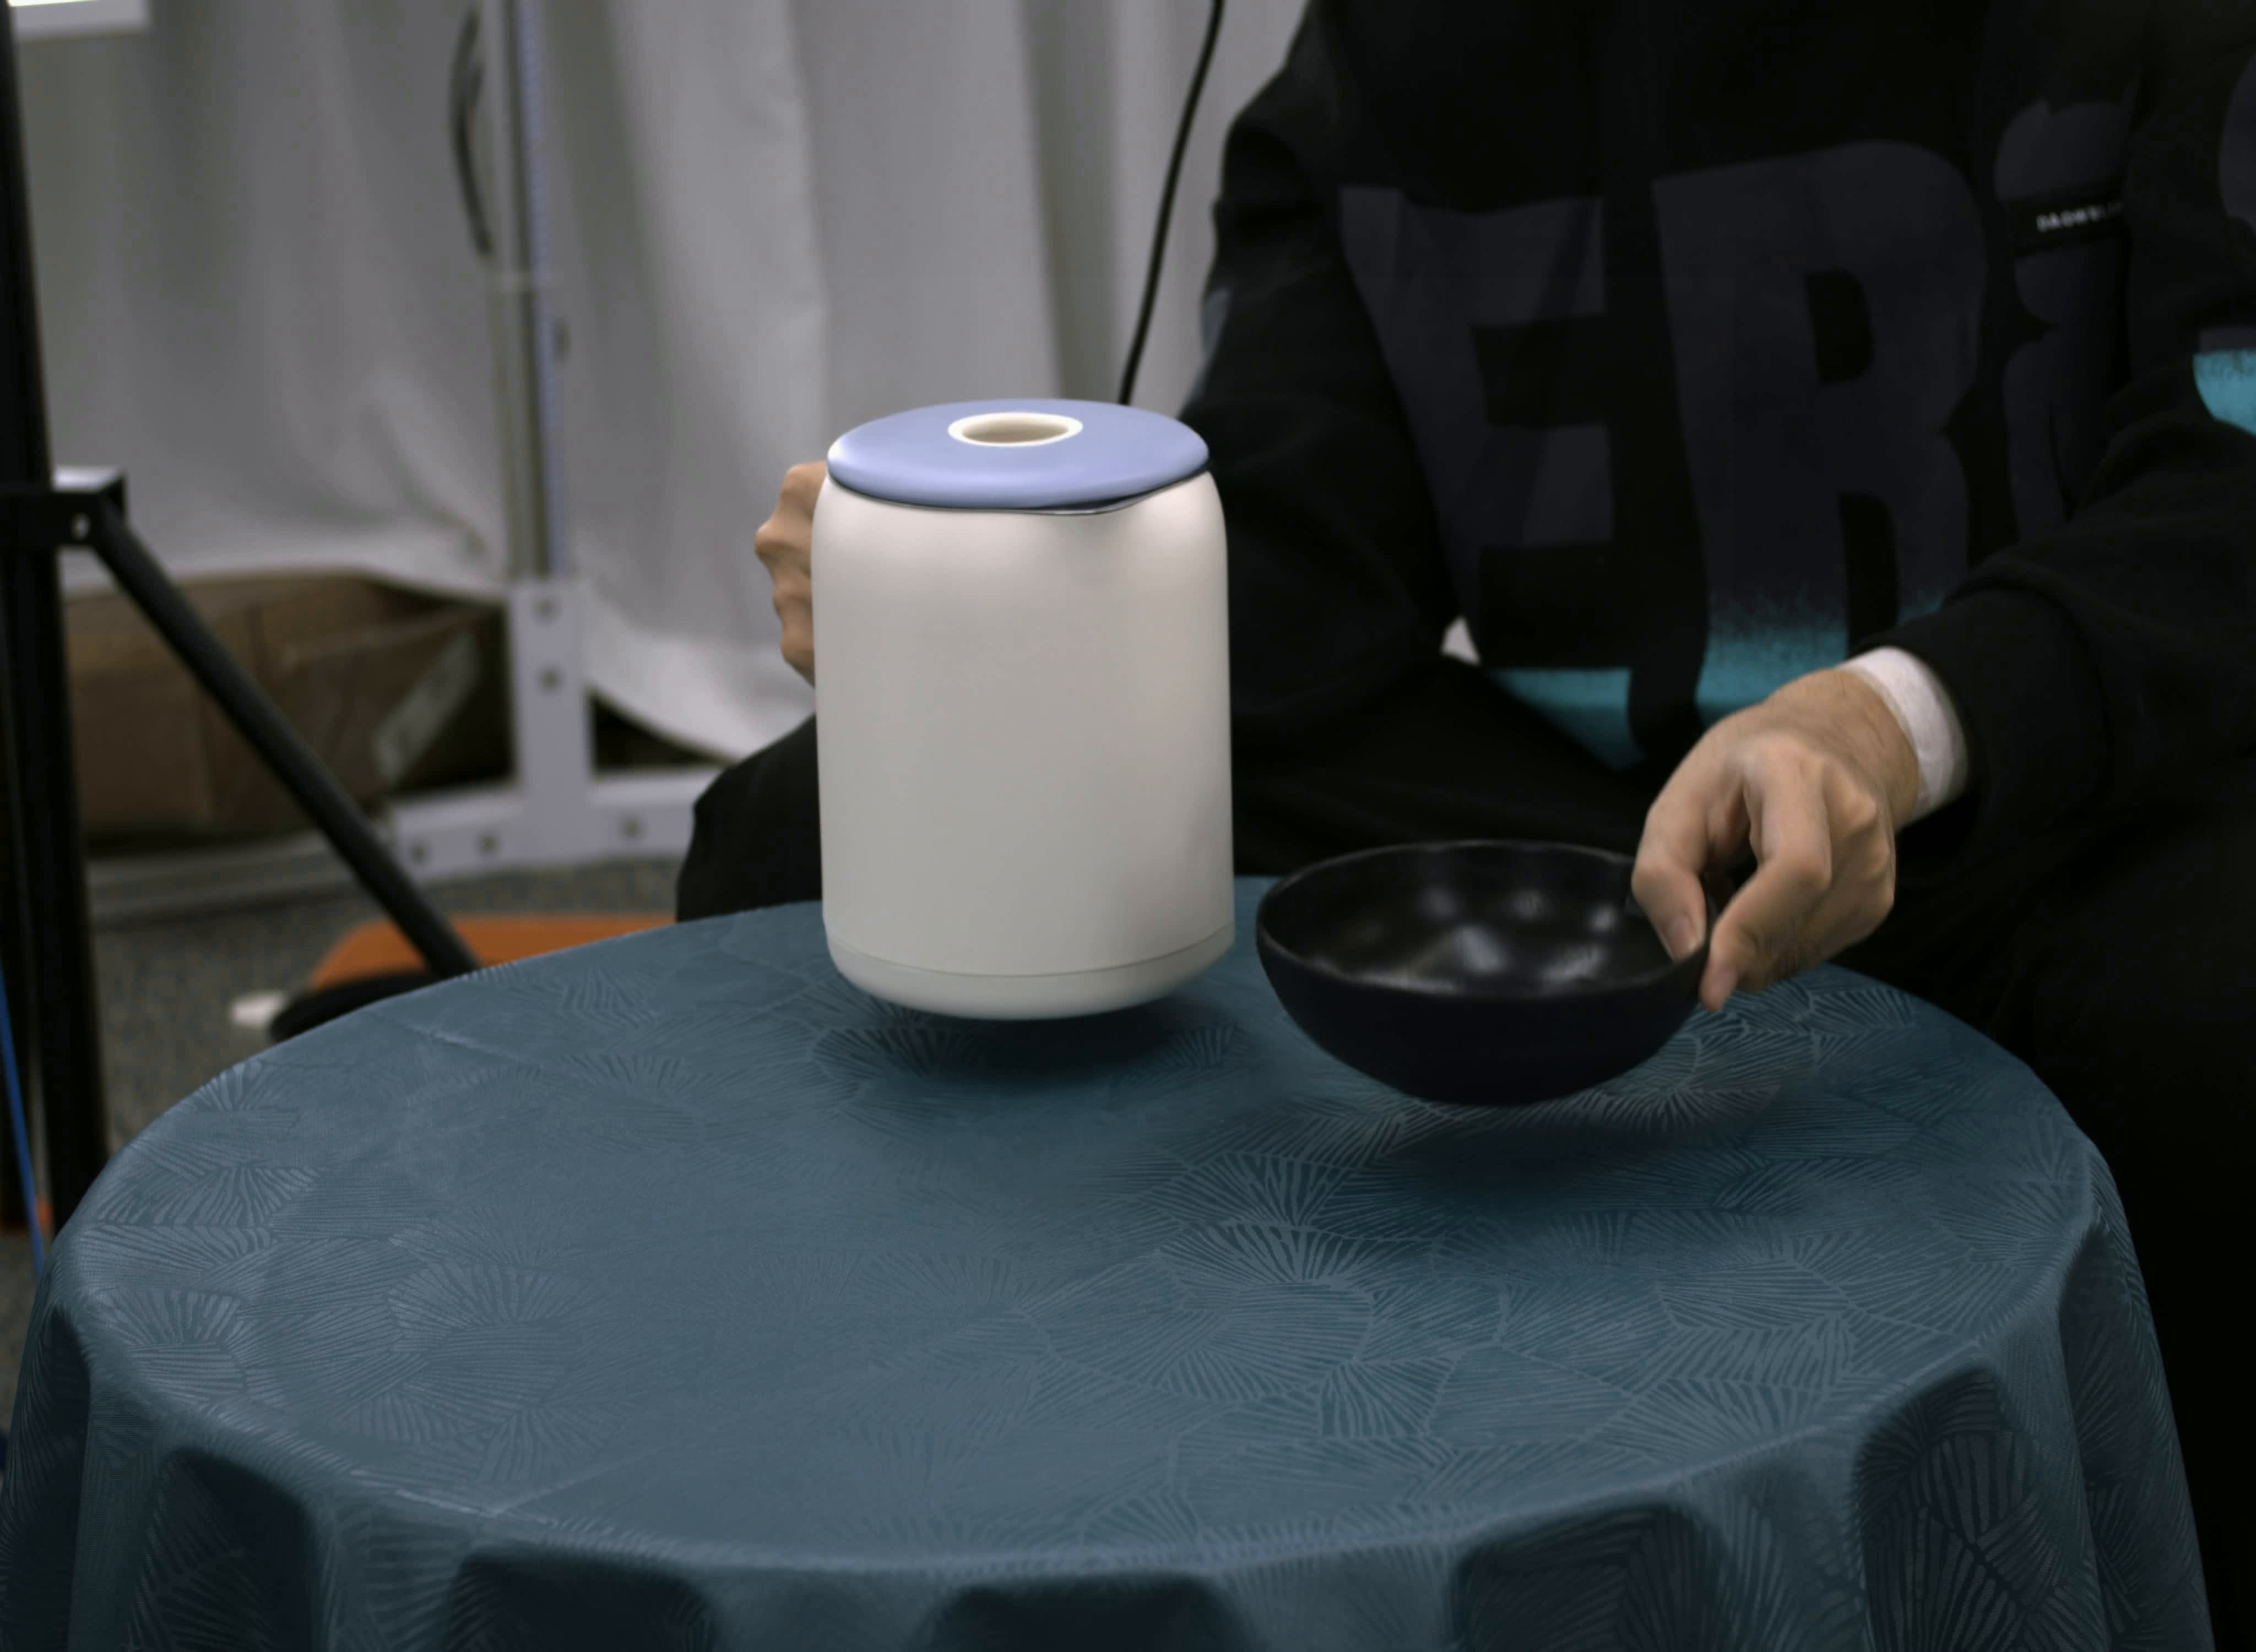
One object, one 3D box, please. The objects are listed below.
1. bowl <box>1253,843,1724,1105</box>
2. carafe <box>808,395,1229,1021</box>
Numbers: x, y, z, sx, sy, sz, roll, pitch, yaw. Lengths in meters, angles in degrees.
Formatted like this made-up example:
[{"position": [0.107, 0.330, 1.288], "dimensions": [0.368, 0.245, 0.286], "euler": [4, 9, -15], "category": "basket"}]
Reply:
[{"position": [0.106, 0.048, 1.566], "dimensions": [0.139, 0.050, 0.141], "euler": [-1, 16, -1], "category": "bowl"}, {"position": [-0.044, -0.044, 1.703], "dimensions": [0.129, 0.182, 0.195], "euler": [-7, 15, -22], "category": "carafe"}]
